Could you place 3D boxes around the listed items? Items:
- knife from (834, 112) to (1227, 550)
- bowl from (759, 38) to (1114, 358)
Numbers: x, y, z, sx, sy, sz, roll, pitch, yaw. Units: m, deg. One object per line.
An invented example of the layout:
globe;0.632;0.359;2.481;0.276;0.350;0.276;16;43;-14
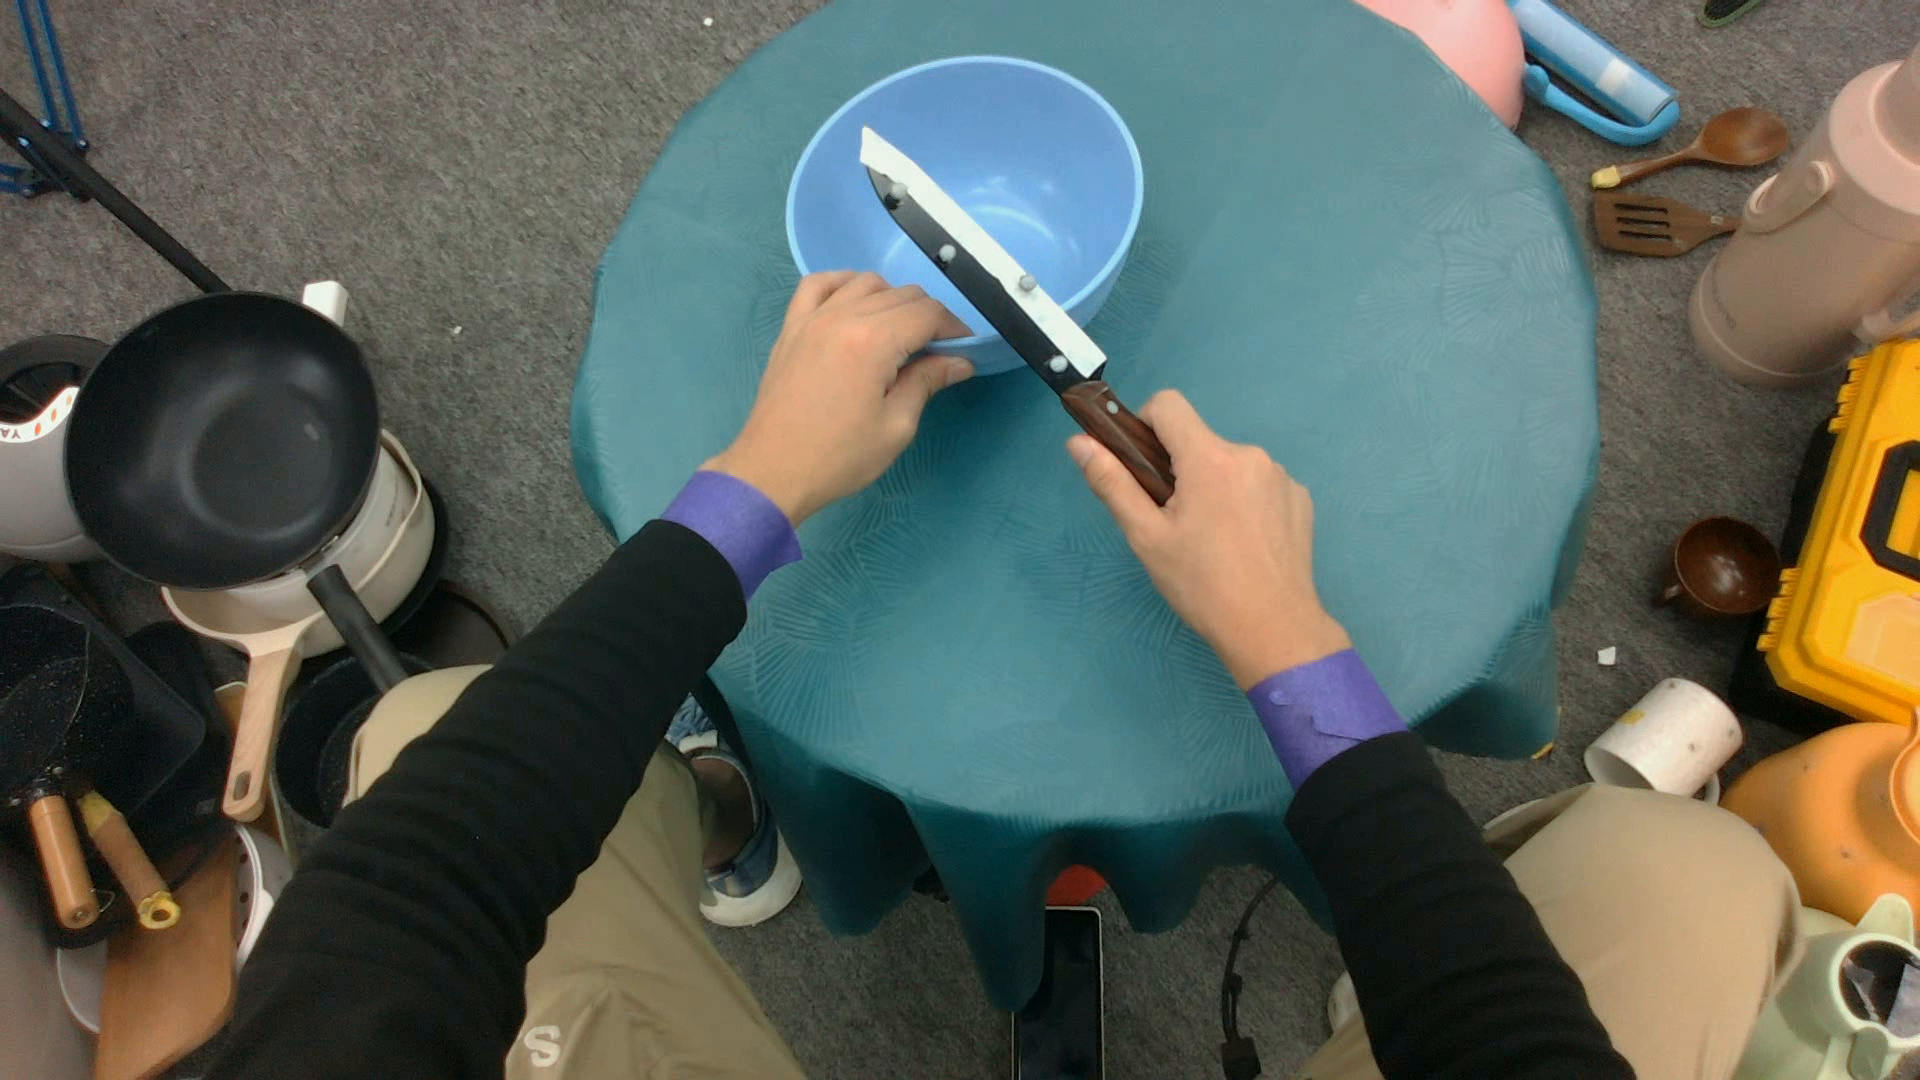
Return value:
knife;0.035;-0.106;0.692;0.289;0.020;0.050;48;49;-3
bowl;-0.009;-0.180;0.793;0.196;0.095;0.197;-2;66;6
